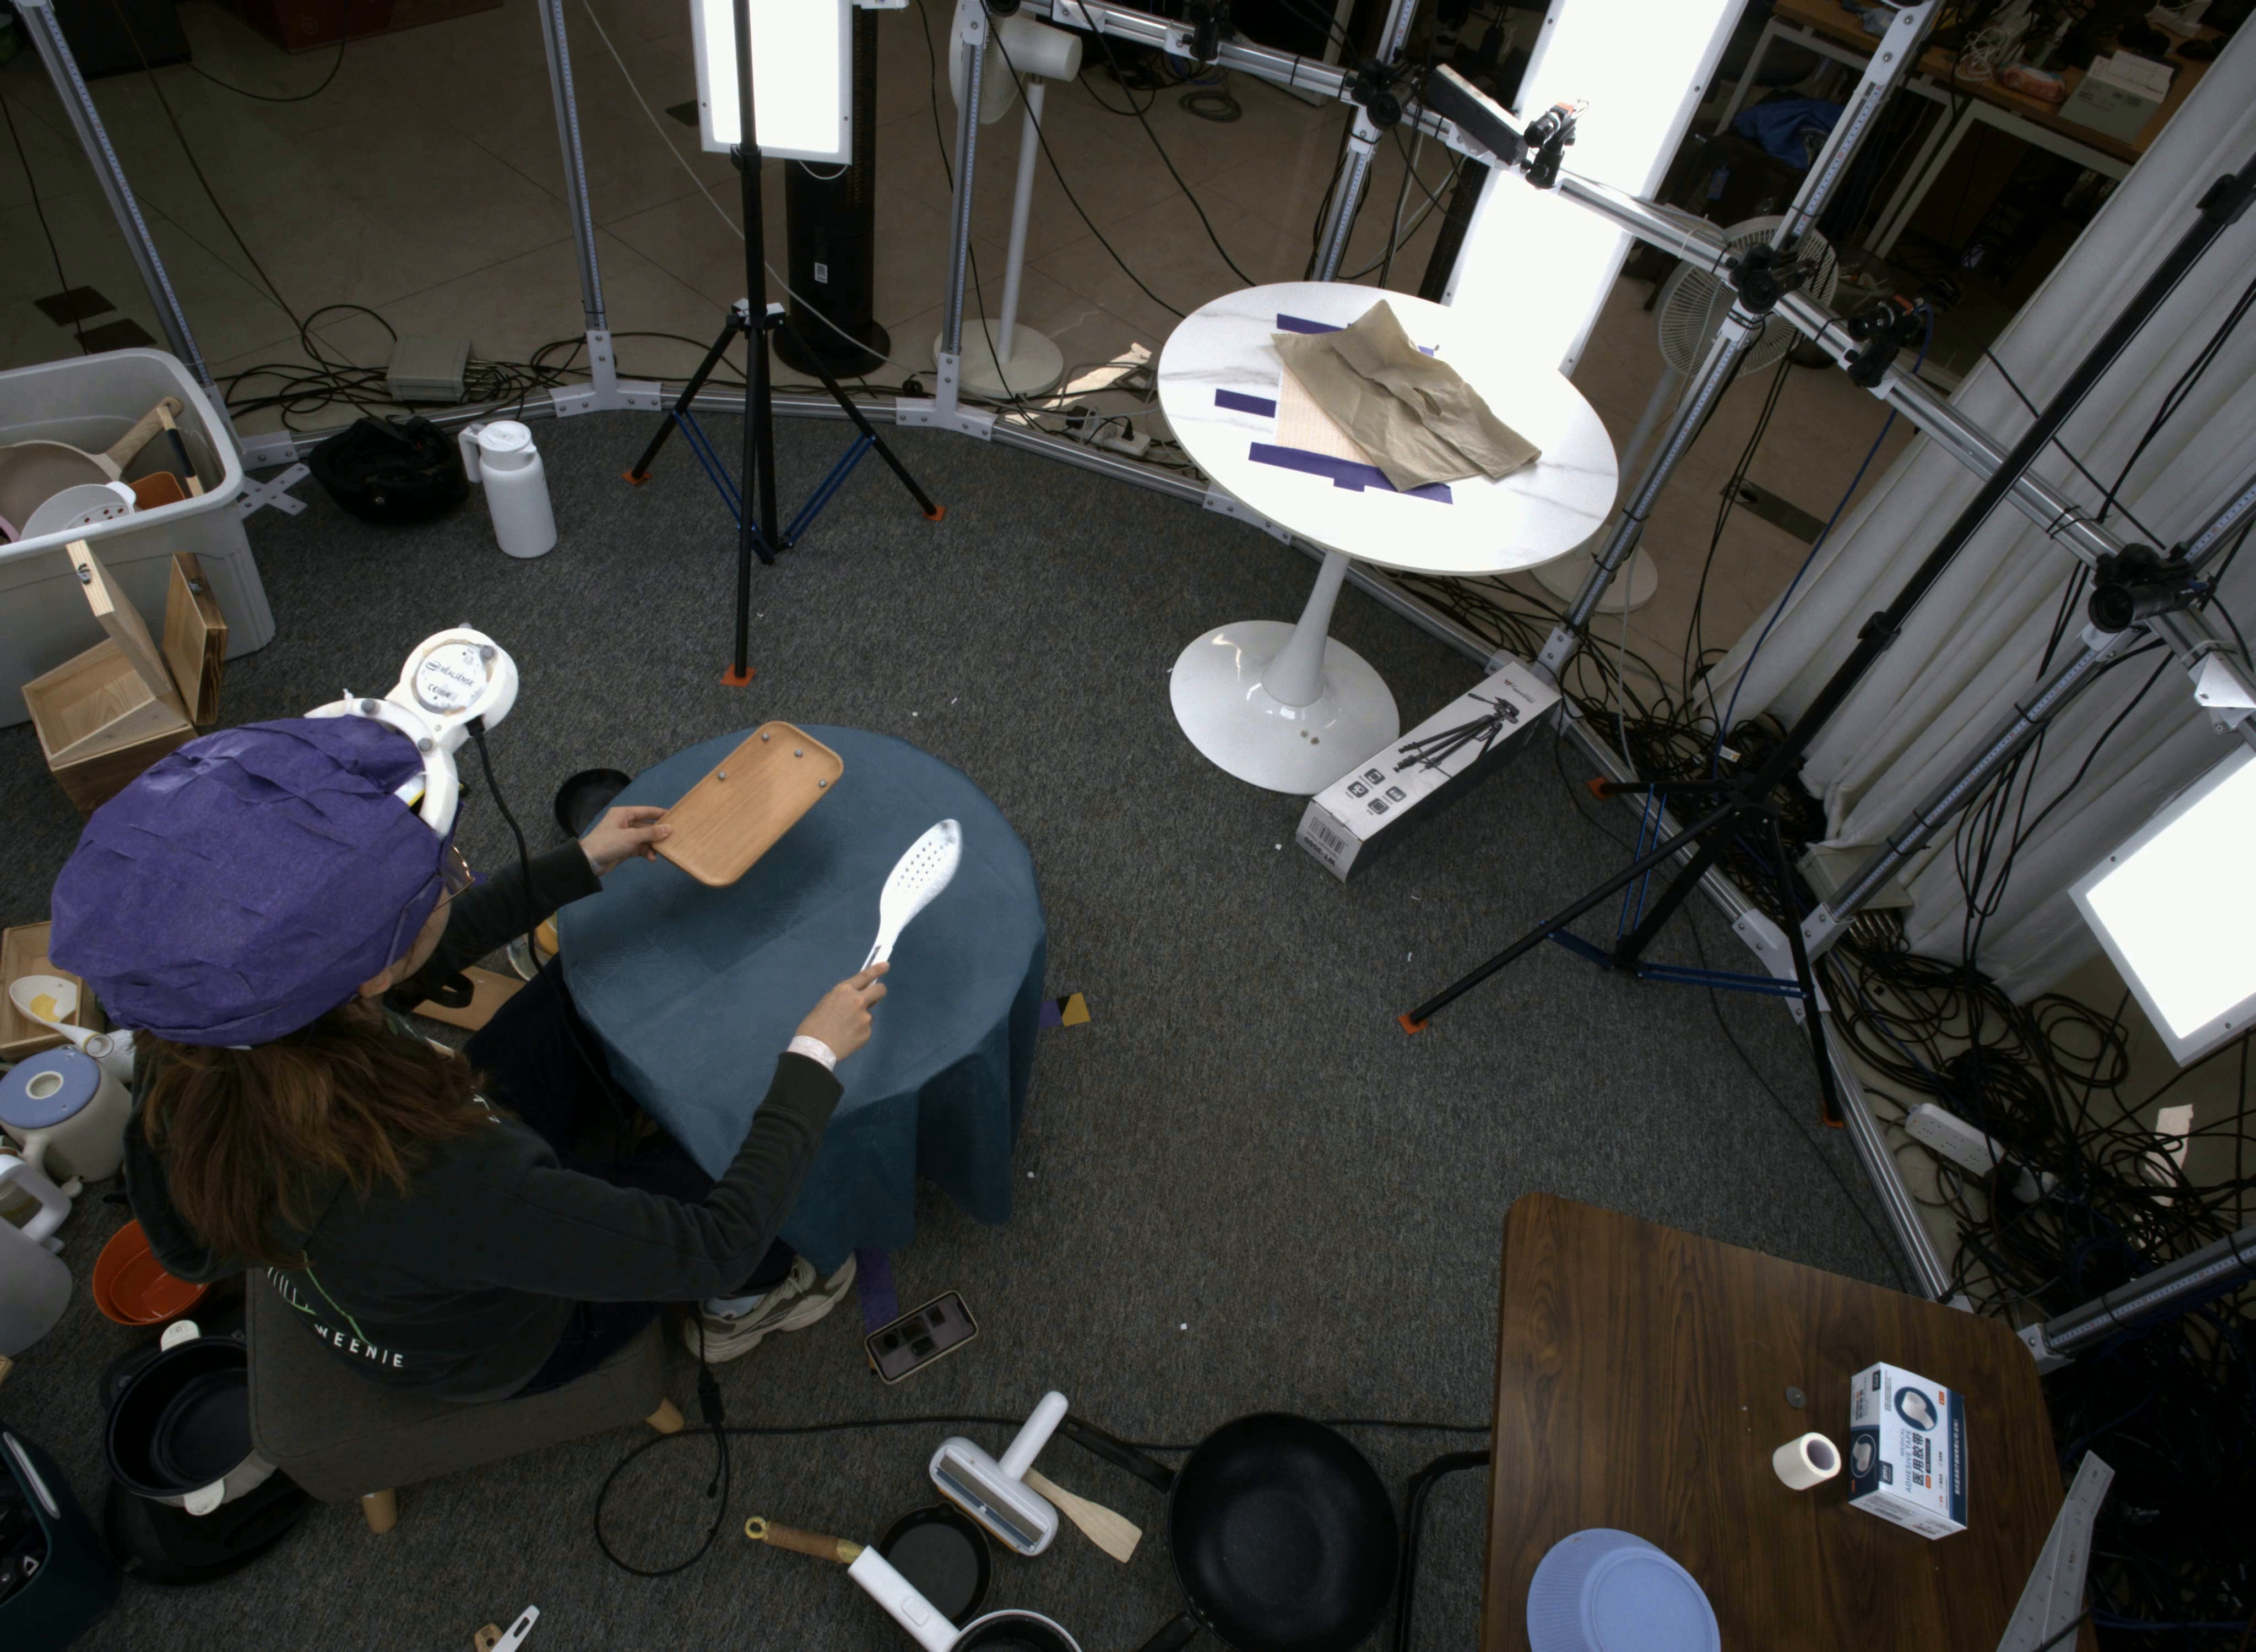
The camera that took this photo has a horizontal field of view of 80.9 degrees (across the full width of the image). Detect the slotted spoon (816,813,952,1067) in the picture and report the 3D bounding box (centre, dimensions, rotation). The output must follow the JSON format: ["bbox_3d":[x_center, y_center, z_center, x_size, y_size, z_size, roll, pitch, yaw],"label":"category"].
[{"bbox_3d":[-0.281,0.124,1.501,0.046,0.135,0.346,38,48,-15],"label":"slotted spoon"}]

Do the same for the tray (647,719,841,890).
[{"bbox_3d":[-0.471,-0.030,1.597,0.128,0.023,0.250,32,55,8],"label":"tray"}]
